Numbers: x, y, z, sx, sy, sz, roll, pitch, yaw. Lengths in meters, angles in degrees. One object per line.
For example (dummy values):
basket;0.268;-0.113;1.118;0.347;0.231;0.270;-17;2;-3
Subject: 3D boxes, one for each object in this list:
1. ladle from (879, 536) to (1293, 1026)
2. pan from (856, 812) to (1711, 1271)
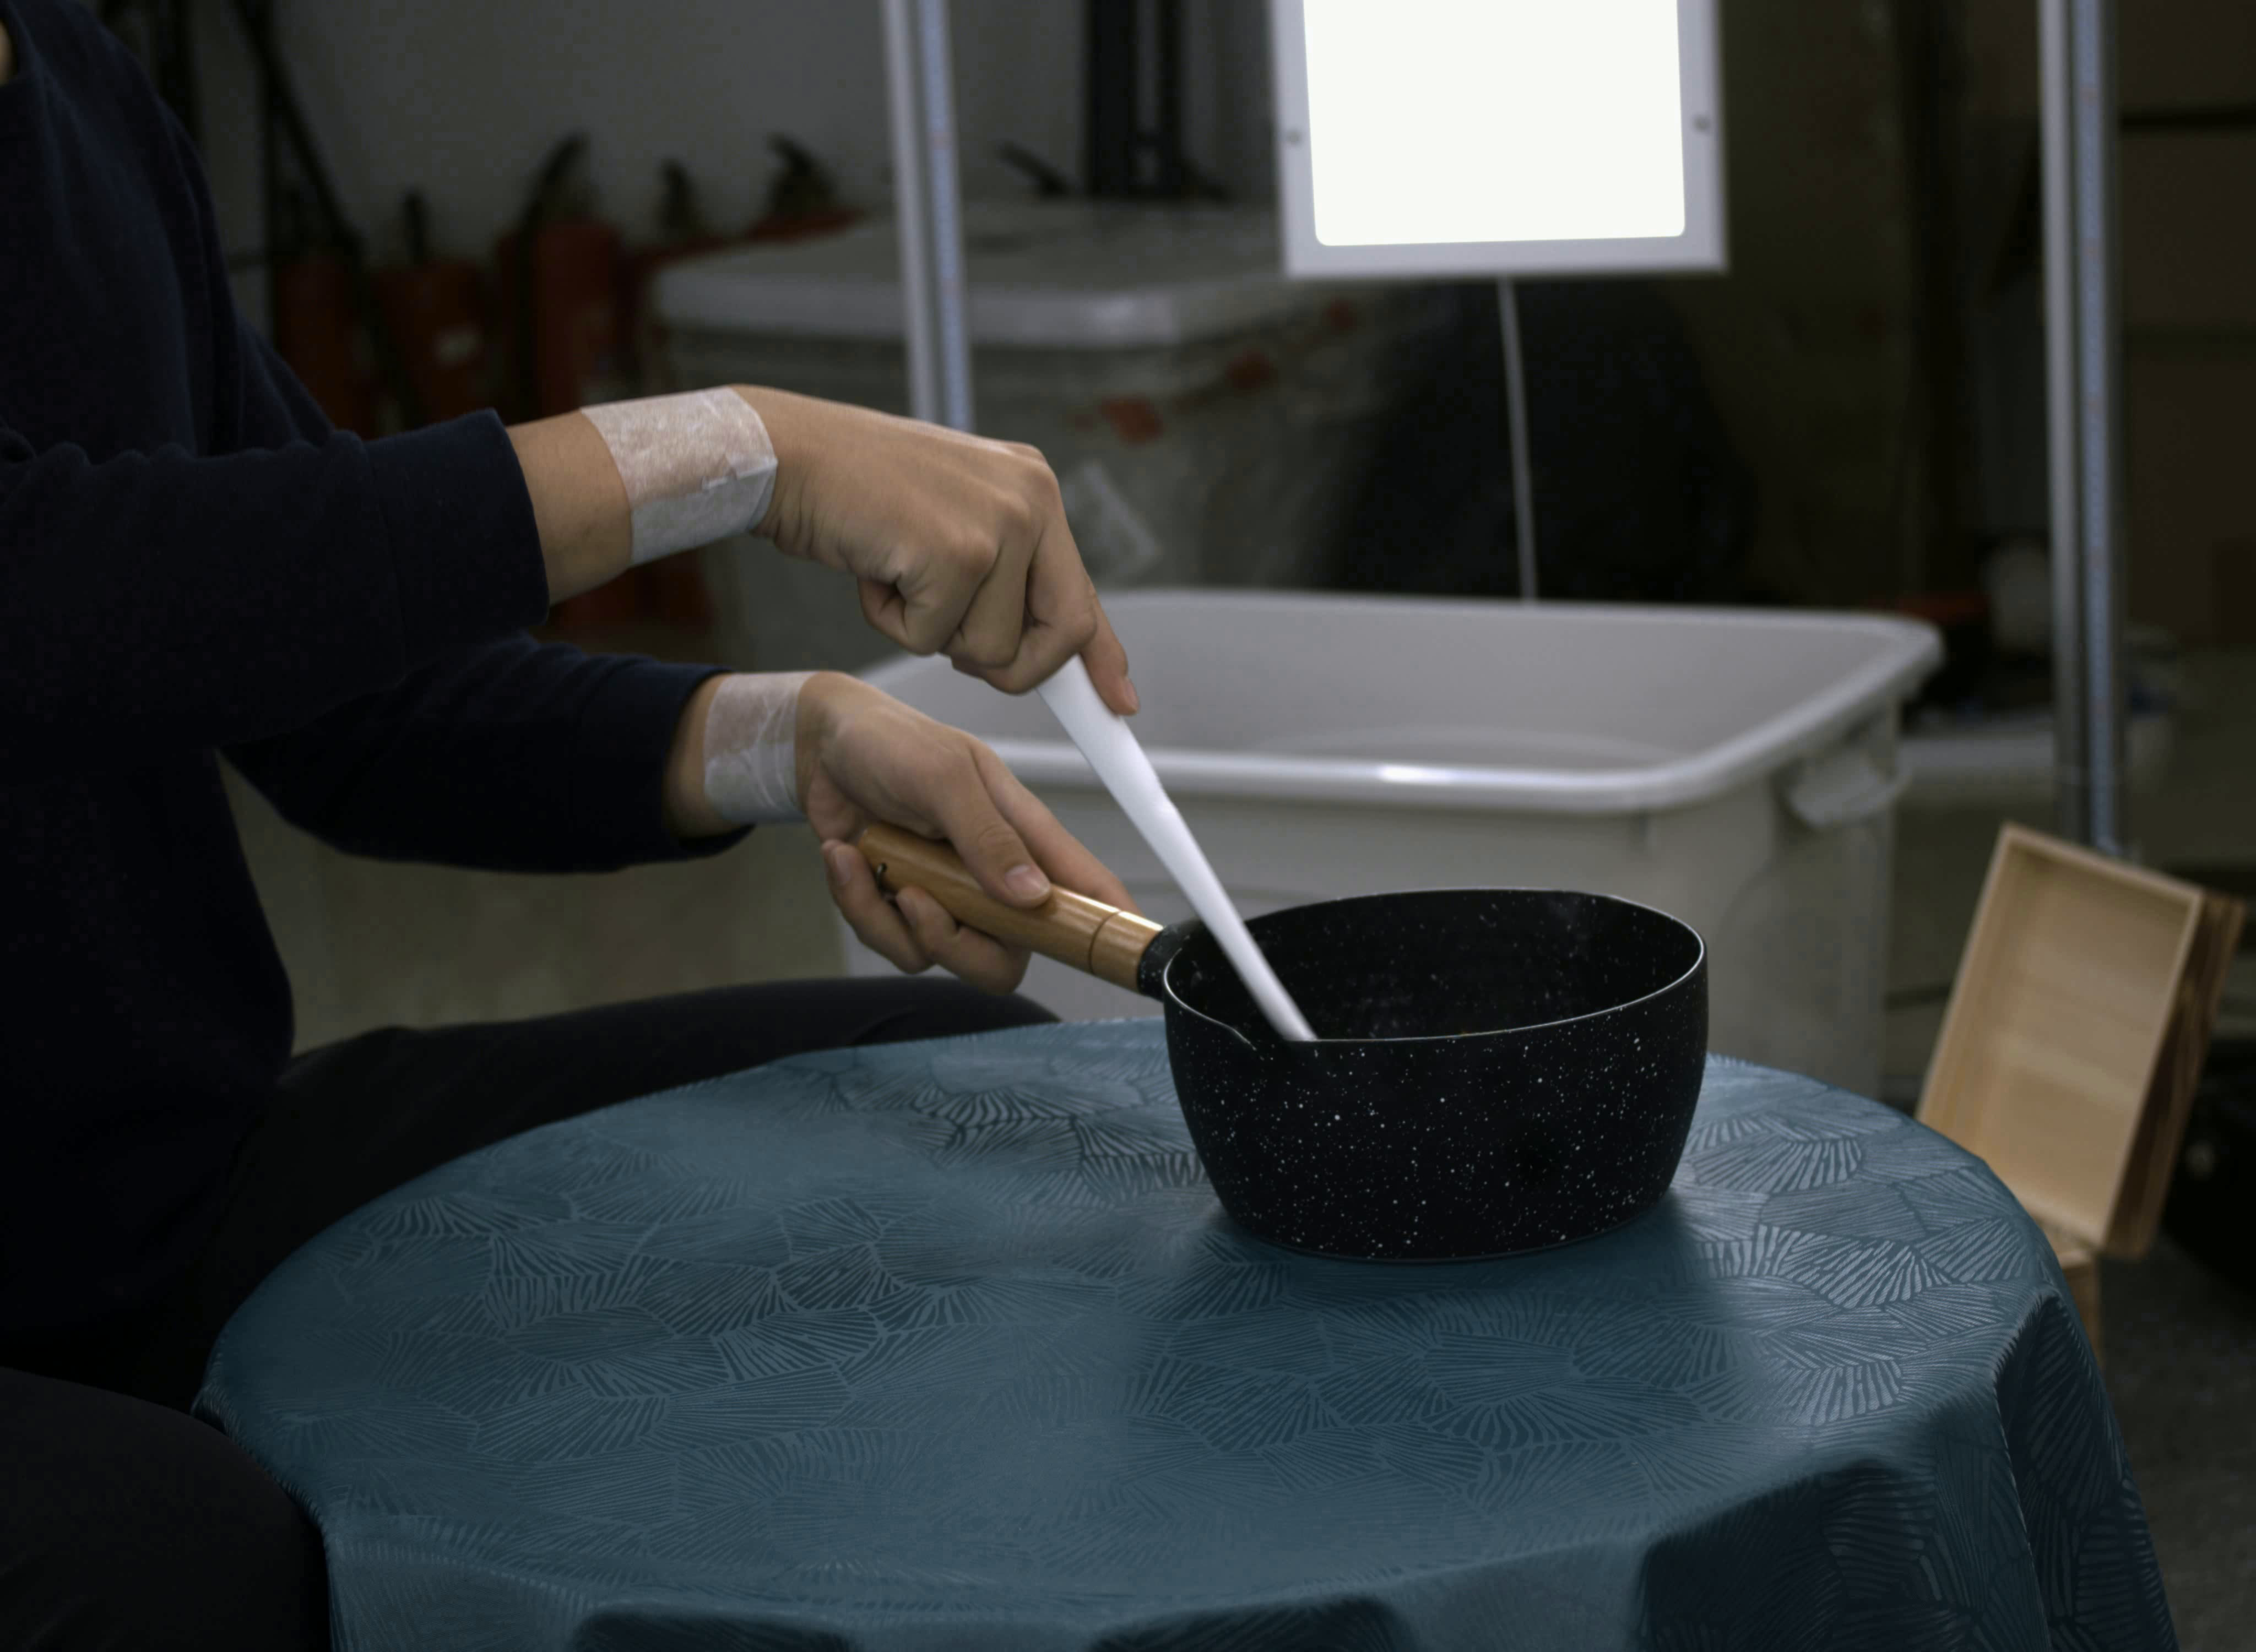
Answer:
ladle;0.035;0.015;1.821;0.071;0.292;0.089;-34;12;27
pan;0.042;0.066;1.899;0.350;0.108;0.202;8;20;38
